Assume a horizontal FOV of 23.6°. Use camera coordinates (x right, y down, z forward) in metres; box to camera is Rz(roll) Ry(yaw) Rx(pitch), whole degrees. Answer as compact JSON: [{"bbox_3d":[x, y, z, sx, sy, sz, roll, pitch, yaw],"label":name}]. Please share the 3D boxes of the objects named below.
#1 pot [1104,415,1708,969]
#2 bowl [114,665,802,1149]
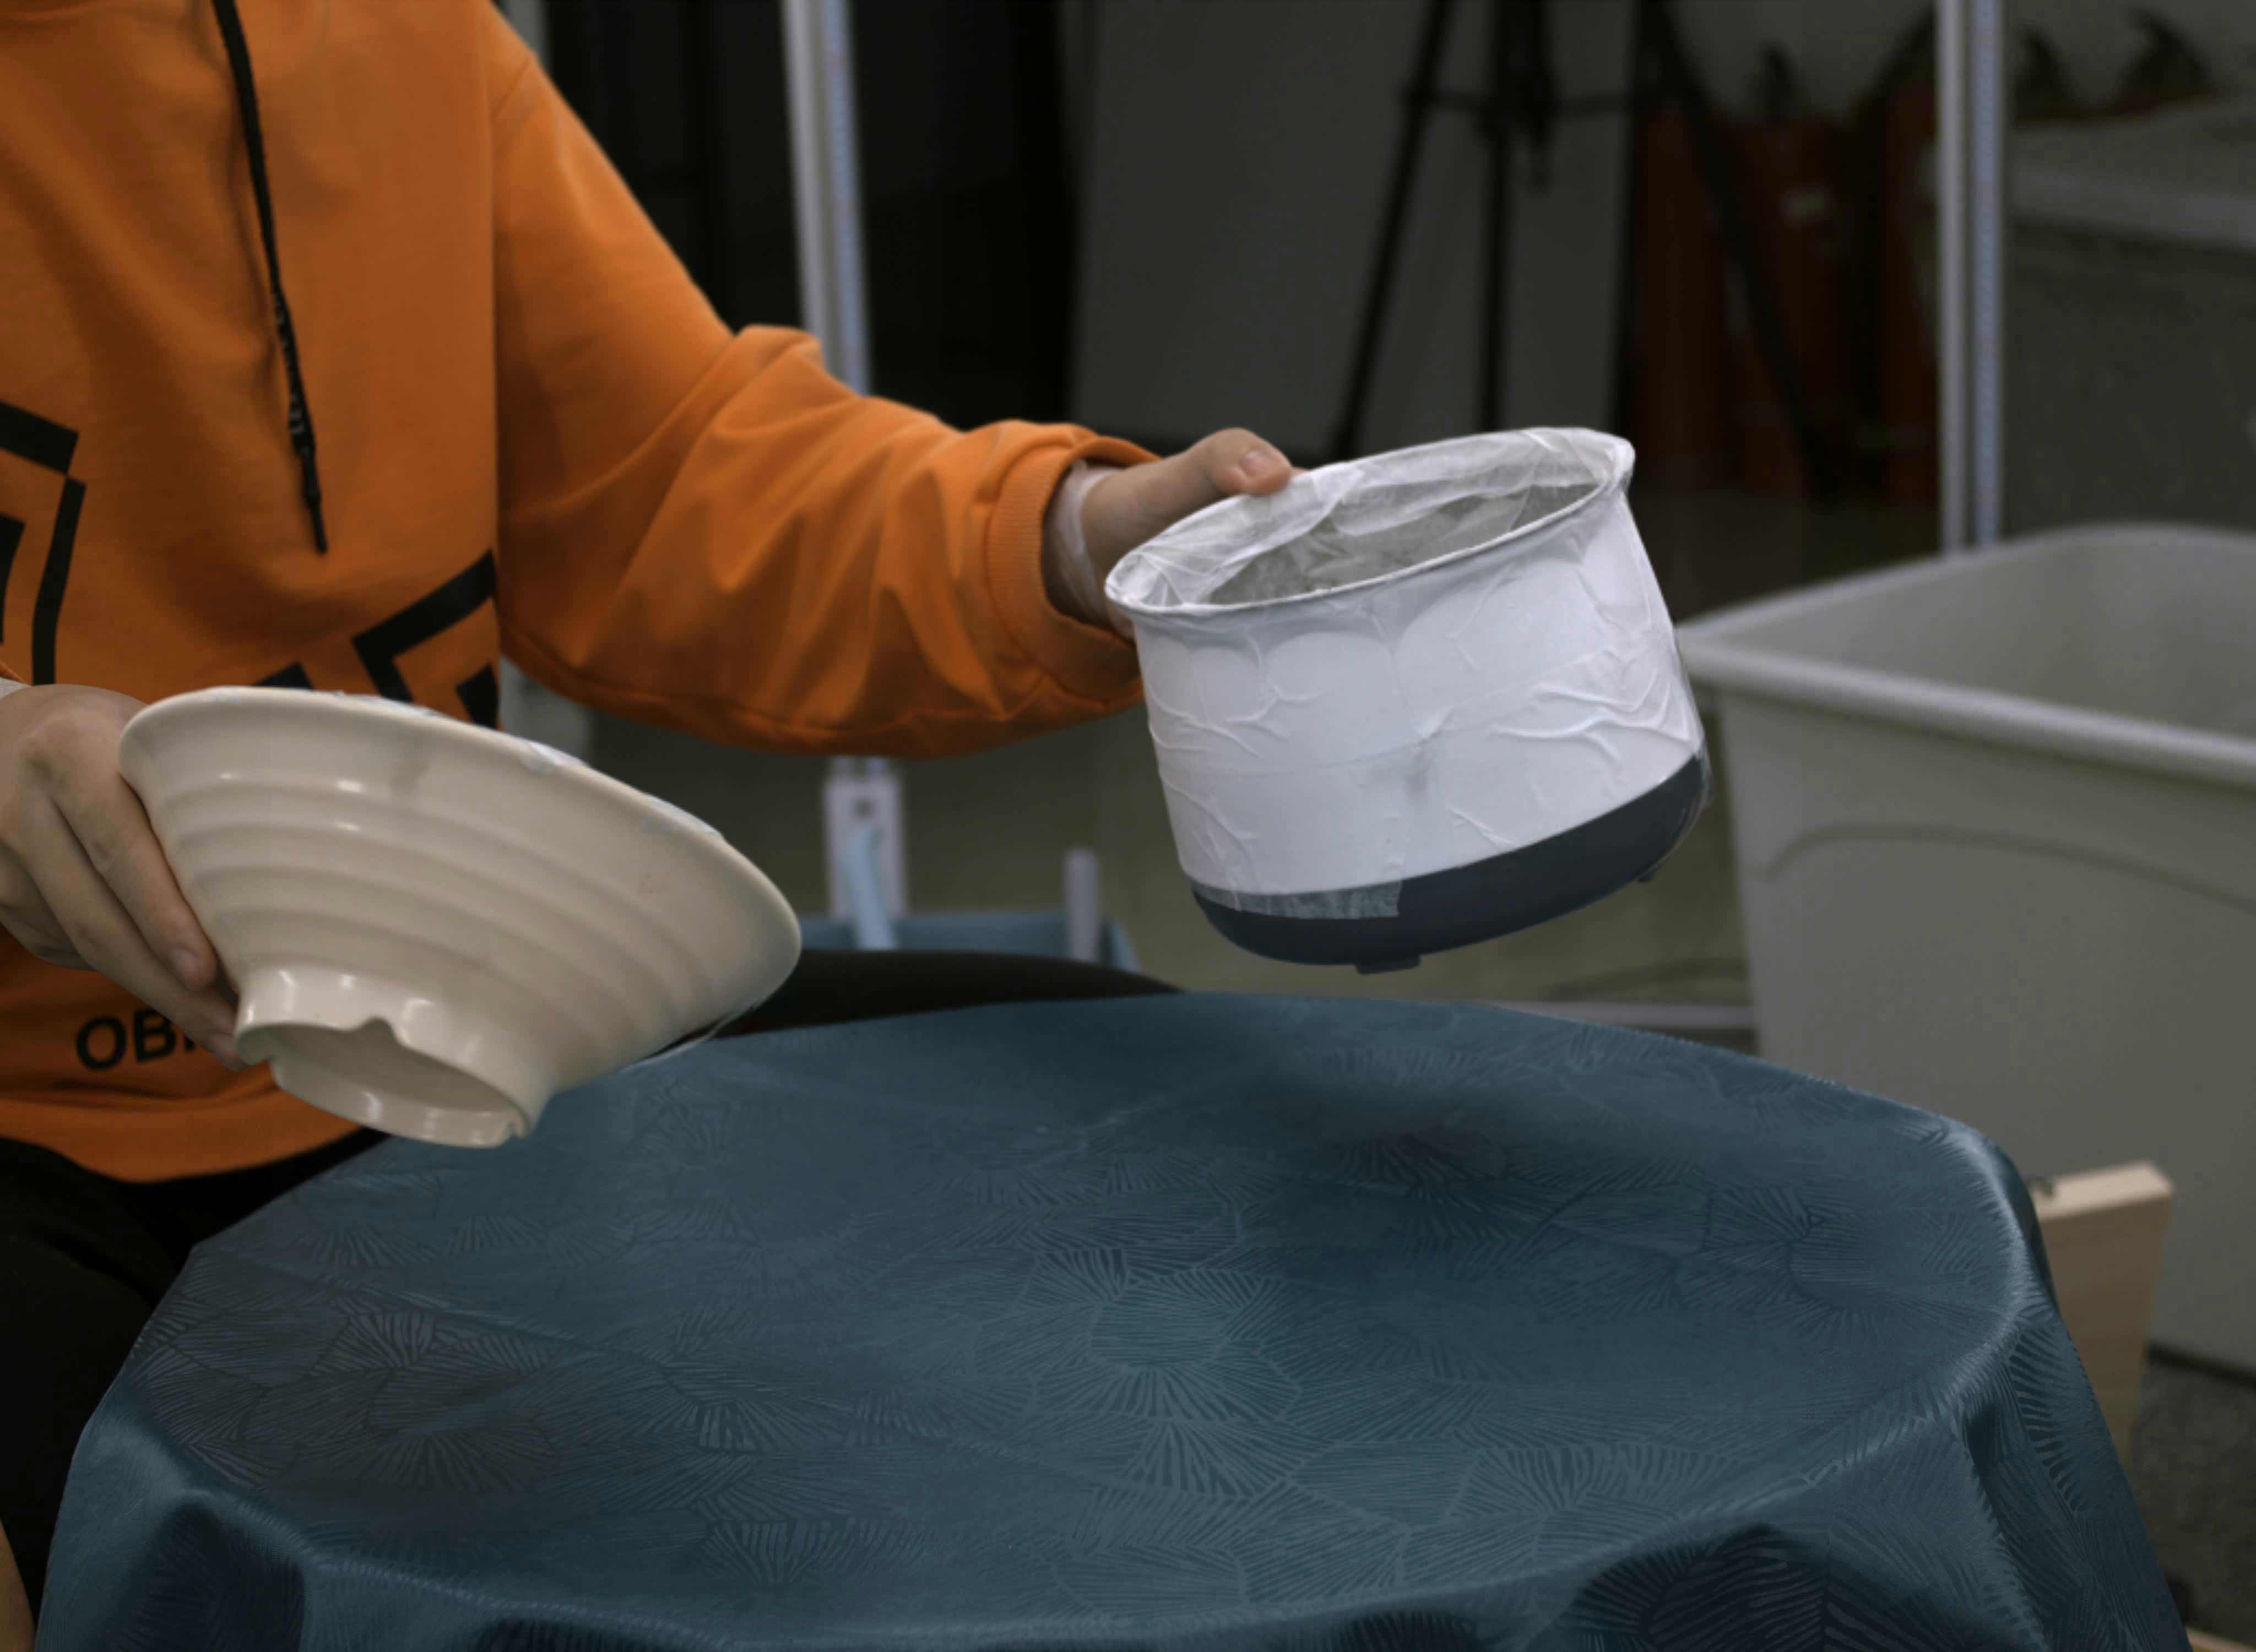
[{"bbox_3d":[0.082,-0.047,1.768,0.175,0.138,0.236,-19,14,-17],"label":"pot"},{"bbox_3d":[-0.197,0.037,1.520,0.202,0.078,0.204,13,-23,5],"label":"bowl"}]
